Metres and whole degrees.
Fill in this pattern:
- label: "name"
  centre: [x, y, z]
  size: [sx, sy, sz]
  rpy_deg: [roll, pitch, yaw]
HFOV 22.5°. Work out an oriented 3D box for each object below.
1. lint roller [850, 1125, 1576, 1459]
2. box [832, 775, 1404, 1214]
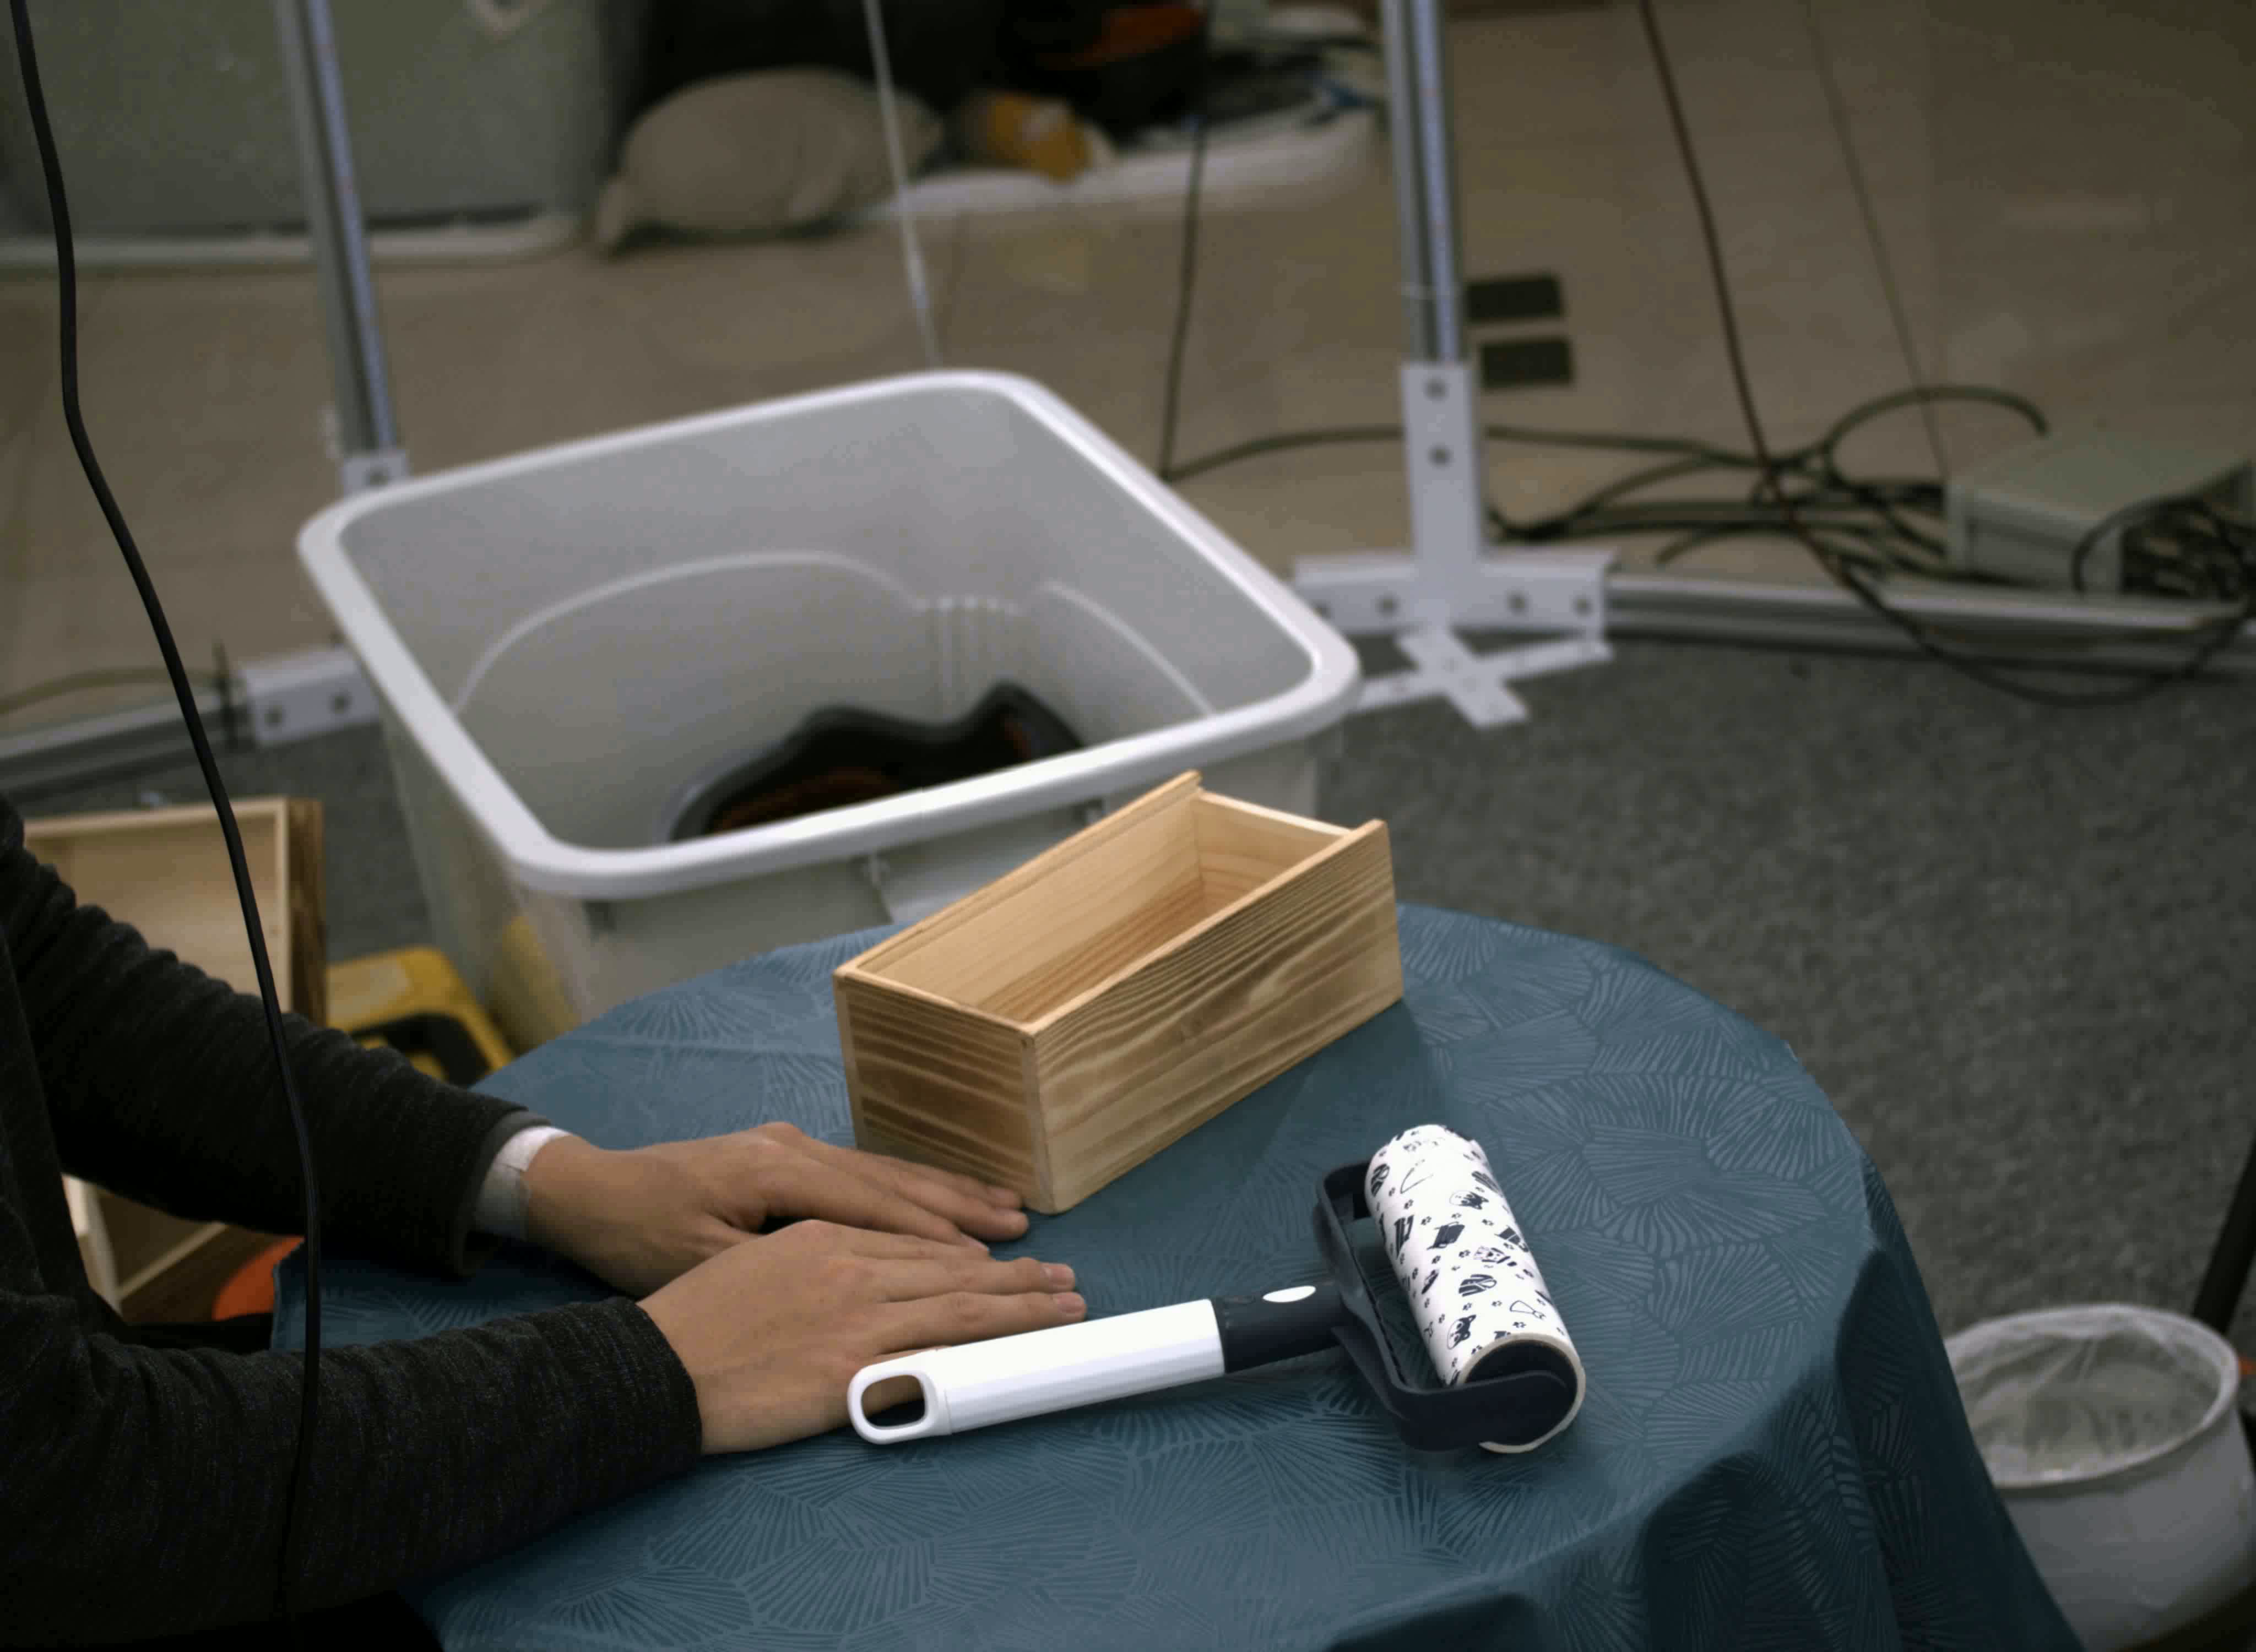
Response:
- label: "lint roller"
  centre: [0.022, 0.180, 2.001]
  size: [0.246, 0.051, 0.174]
  rpy_deg: [-10, 26, -5]
- label: "box"
  centre: [-0.001, 0.063, 2.217]
  size: [0.107, 0.081, 0.209]
  rpy_deg: [16, 33, 39]
